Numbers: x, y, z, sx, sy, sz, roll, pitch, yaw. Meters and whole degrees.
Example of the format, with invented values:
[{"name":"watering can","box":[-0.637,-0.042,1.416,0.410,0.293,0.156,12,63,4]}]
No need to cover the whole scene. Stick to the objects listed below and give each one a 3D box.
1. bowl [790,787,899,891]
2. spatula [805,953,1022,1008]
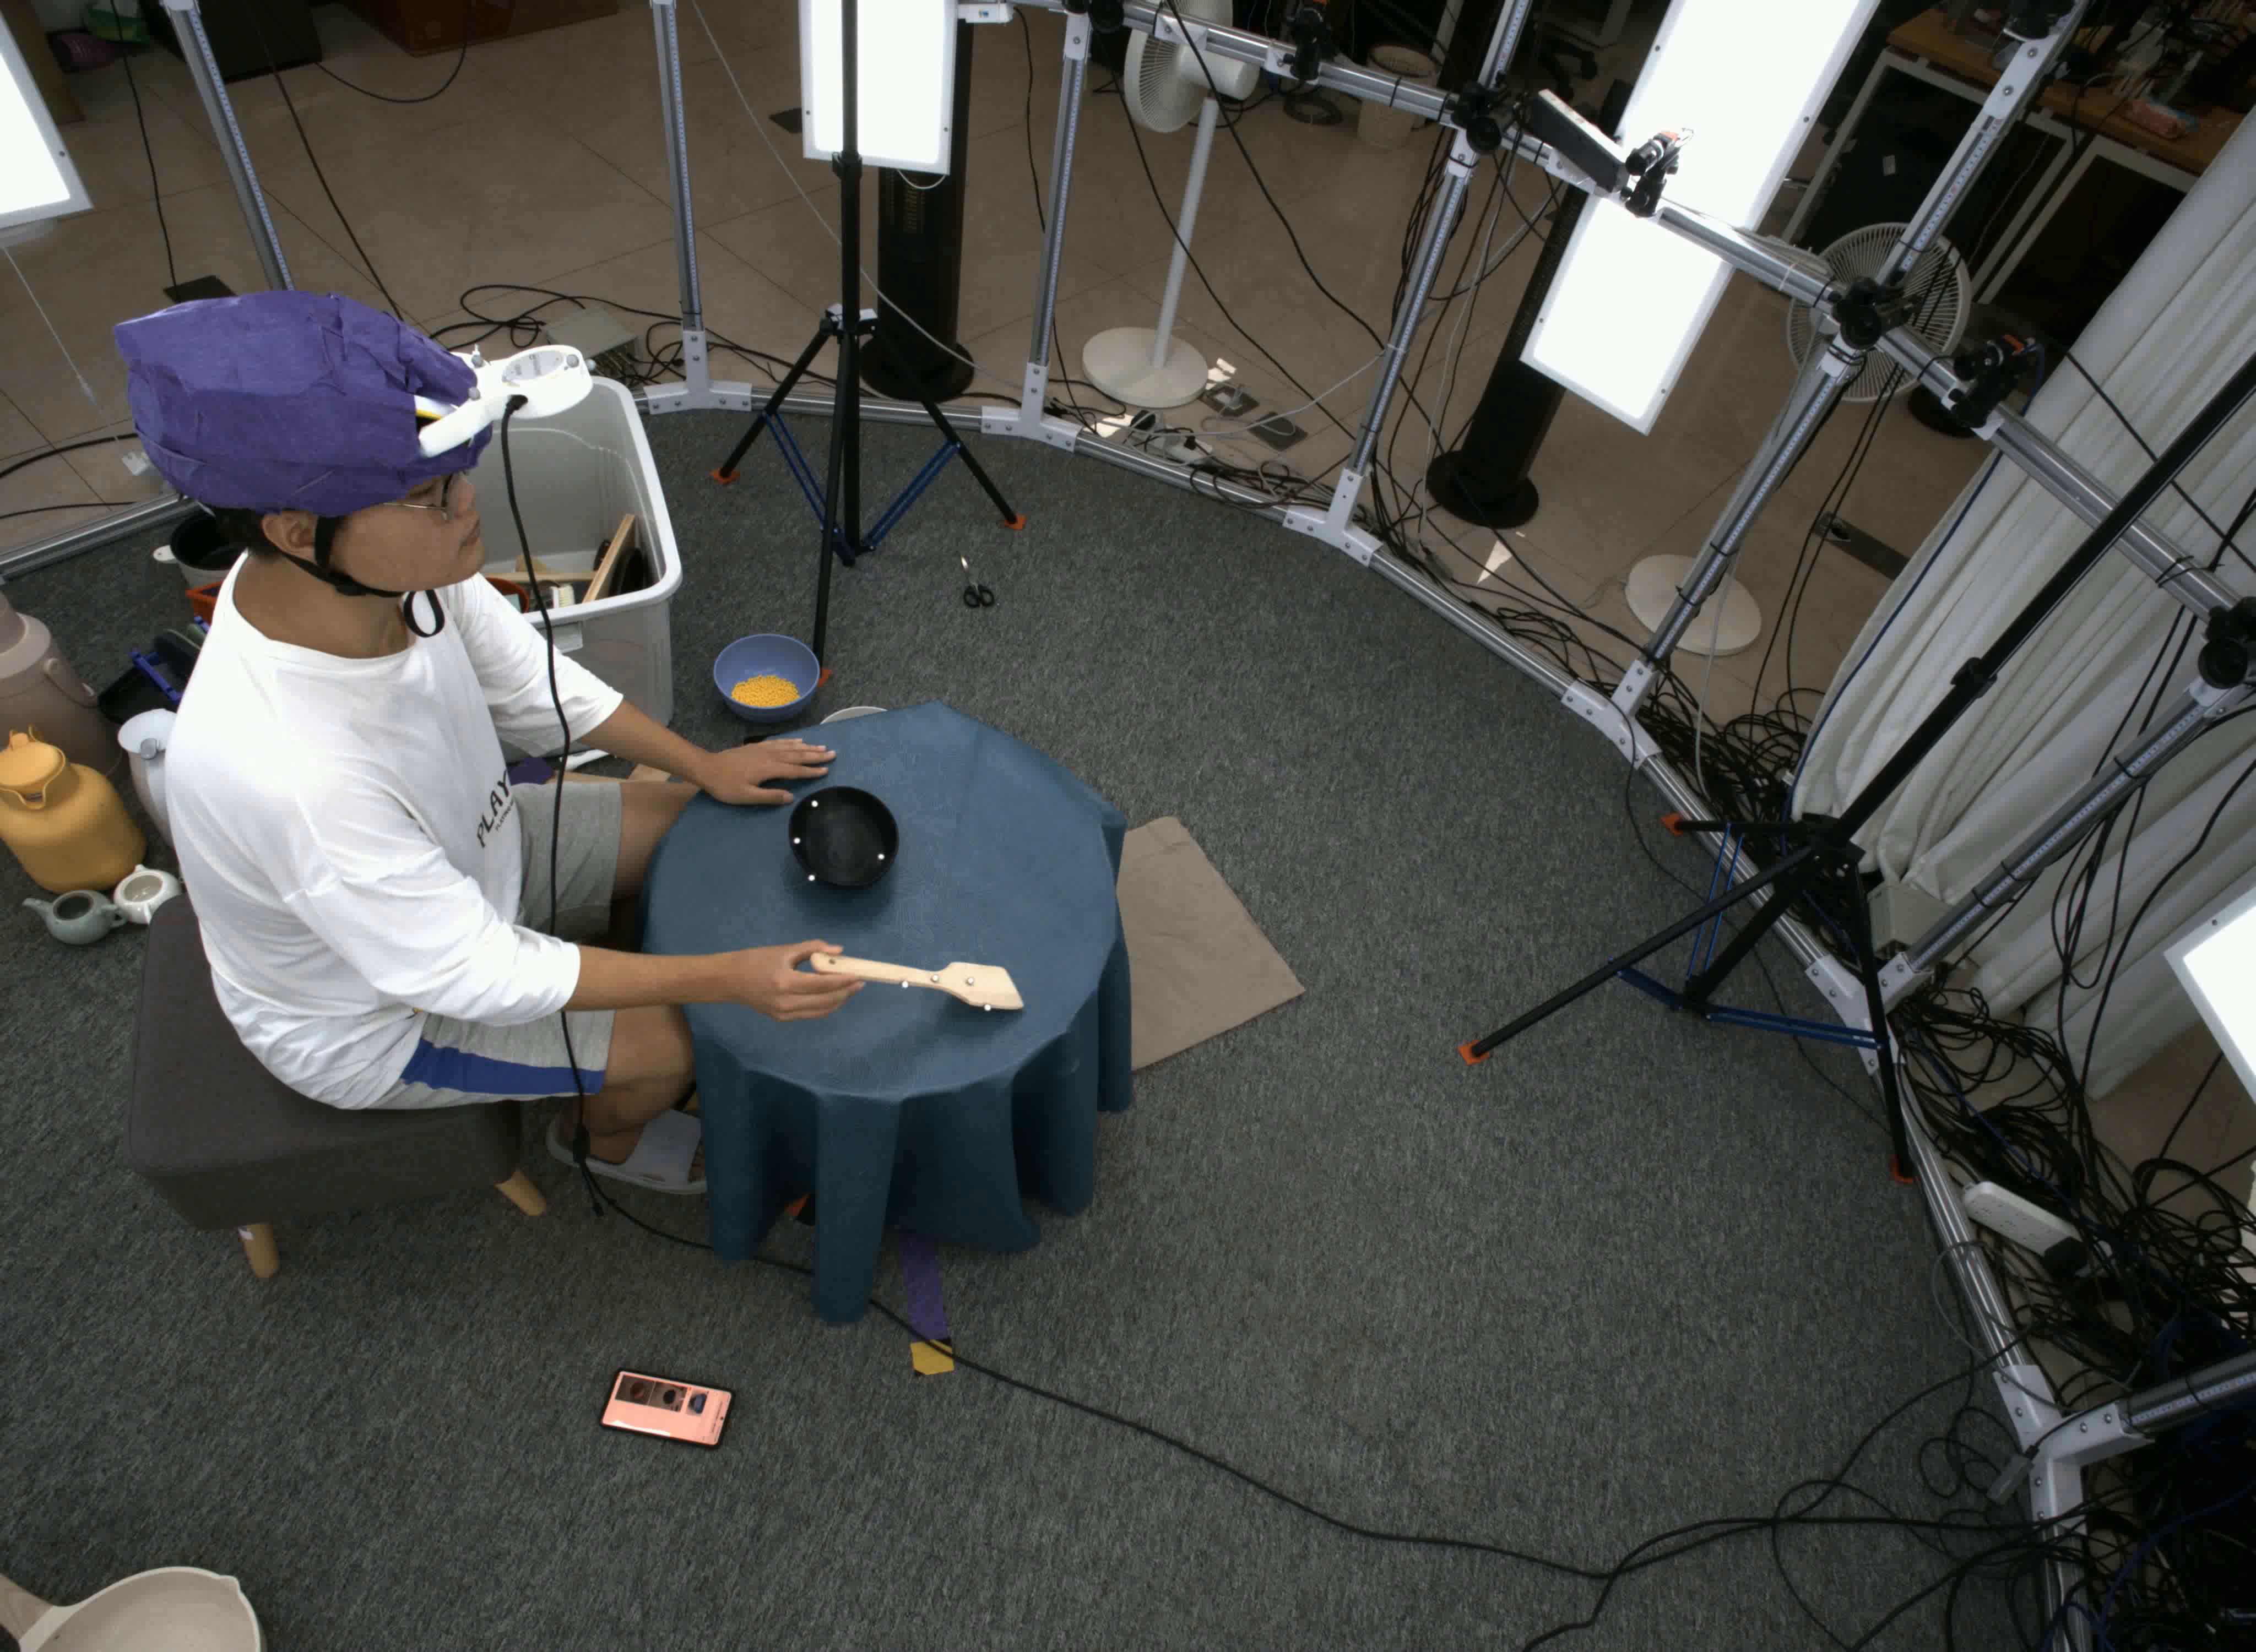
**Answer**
[{"name":"bowl","box":[-0.368,0.024,1.689,0.138,0.068,0.166,-14,56,-21]},{"name":"spatula","box":[-0.251,0.177,1.542,0.301,0.011,0.070,13,33,-43]}]
